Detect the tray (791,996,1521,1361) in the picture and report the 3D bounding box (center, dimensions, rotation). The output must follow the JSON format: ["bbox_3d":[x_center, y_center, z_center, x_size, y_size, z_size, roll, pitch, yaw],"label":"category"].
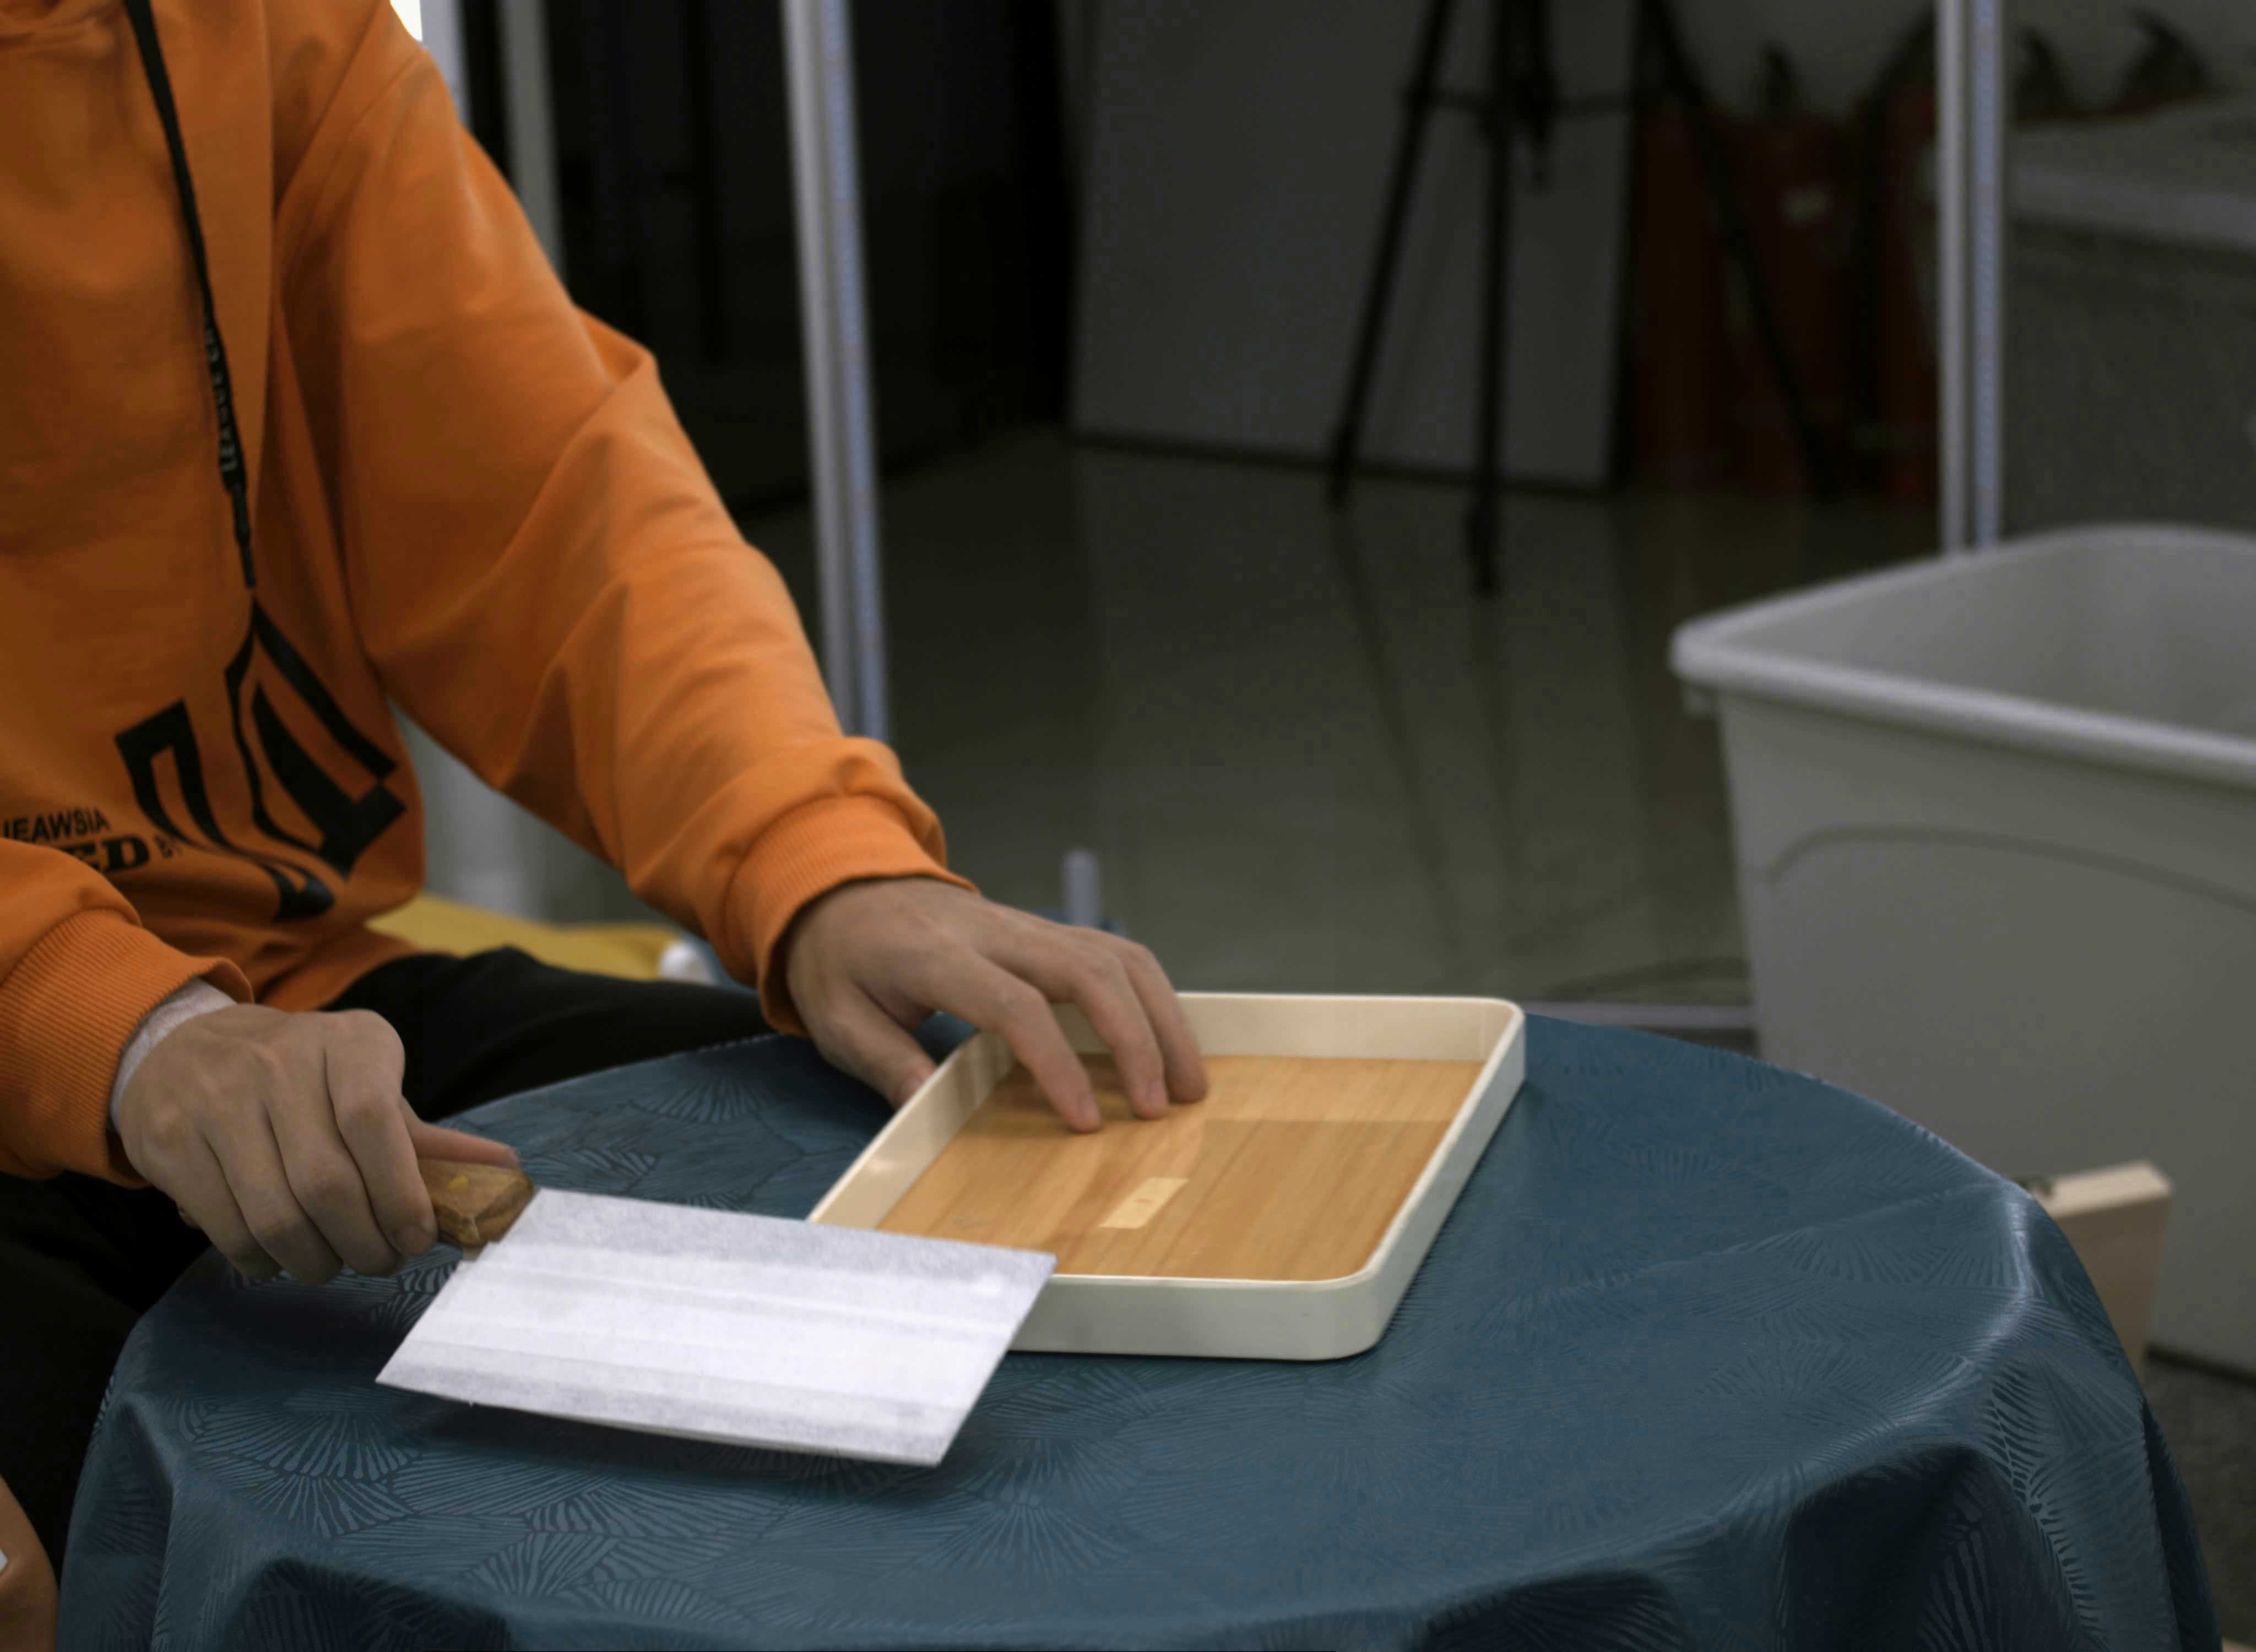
[{"bbox_3d":[0.014,0.110,1.754,0.191,0.028,0.298,0,15,15],"label":"tray"}]

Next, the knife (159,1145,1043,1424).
[{"bbox_3d":[-0.171,0.138,1.605,0.306,0.021,0.092,4,41,28],"label":"knife"}]
